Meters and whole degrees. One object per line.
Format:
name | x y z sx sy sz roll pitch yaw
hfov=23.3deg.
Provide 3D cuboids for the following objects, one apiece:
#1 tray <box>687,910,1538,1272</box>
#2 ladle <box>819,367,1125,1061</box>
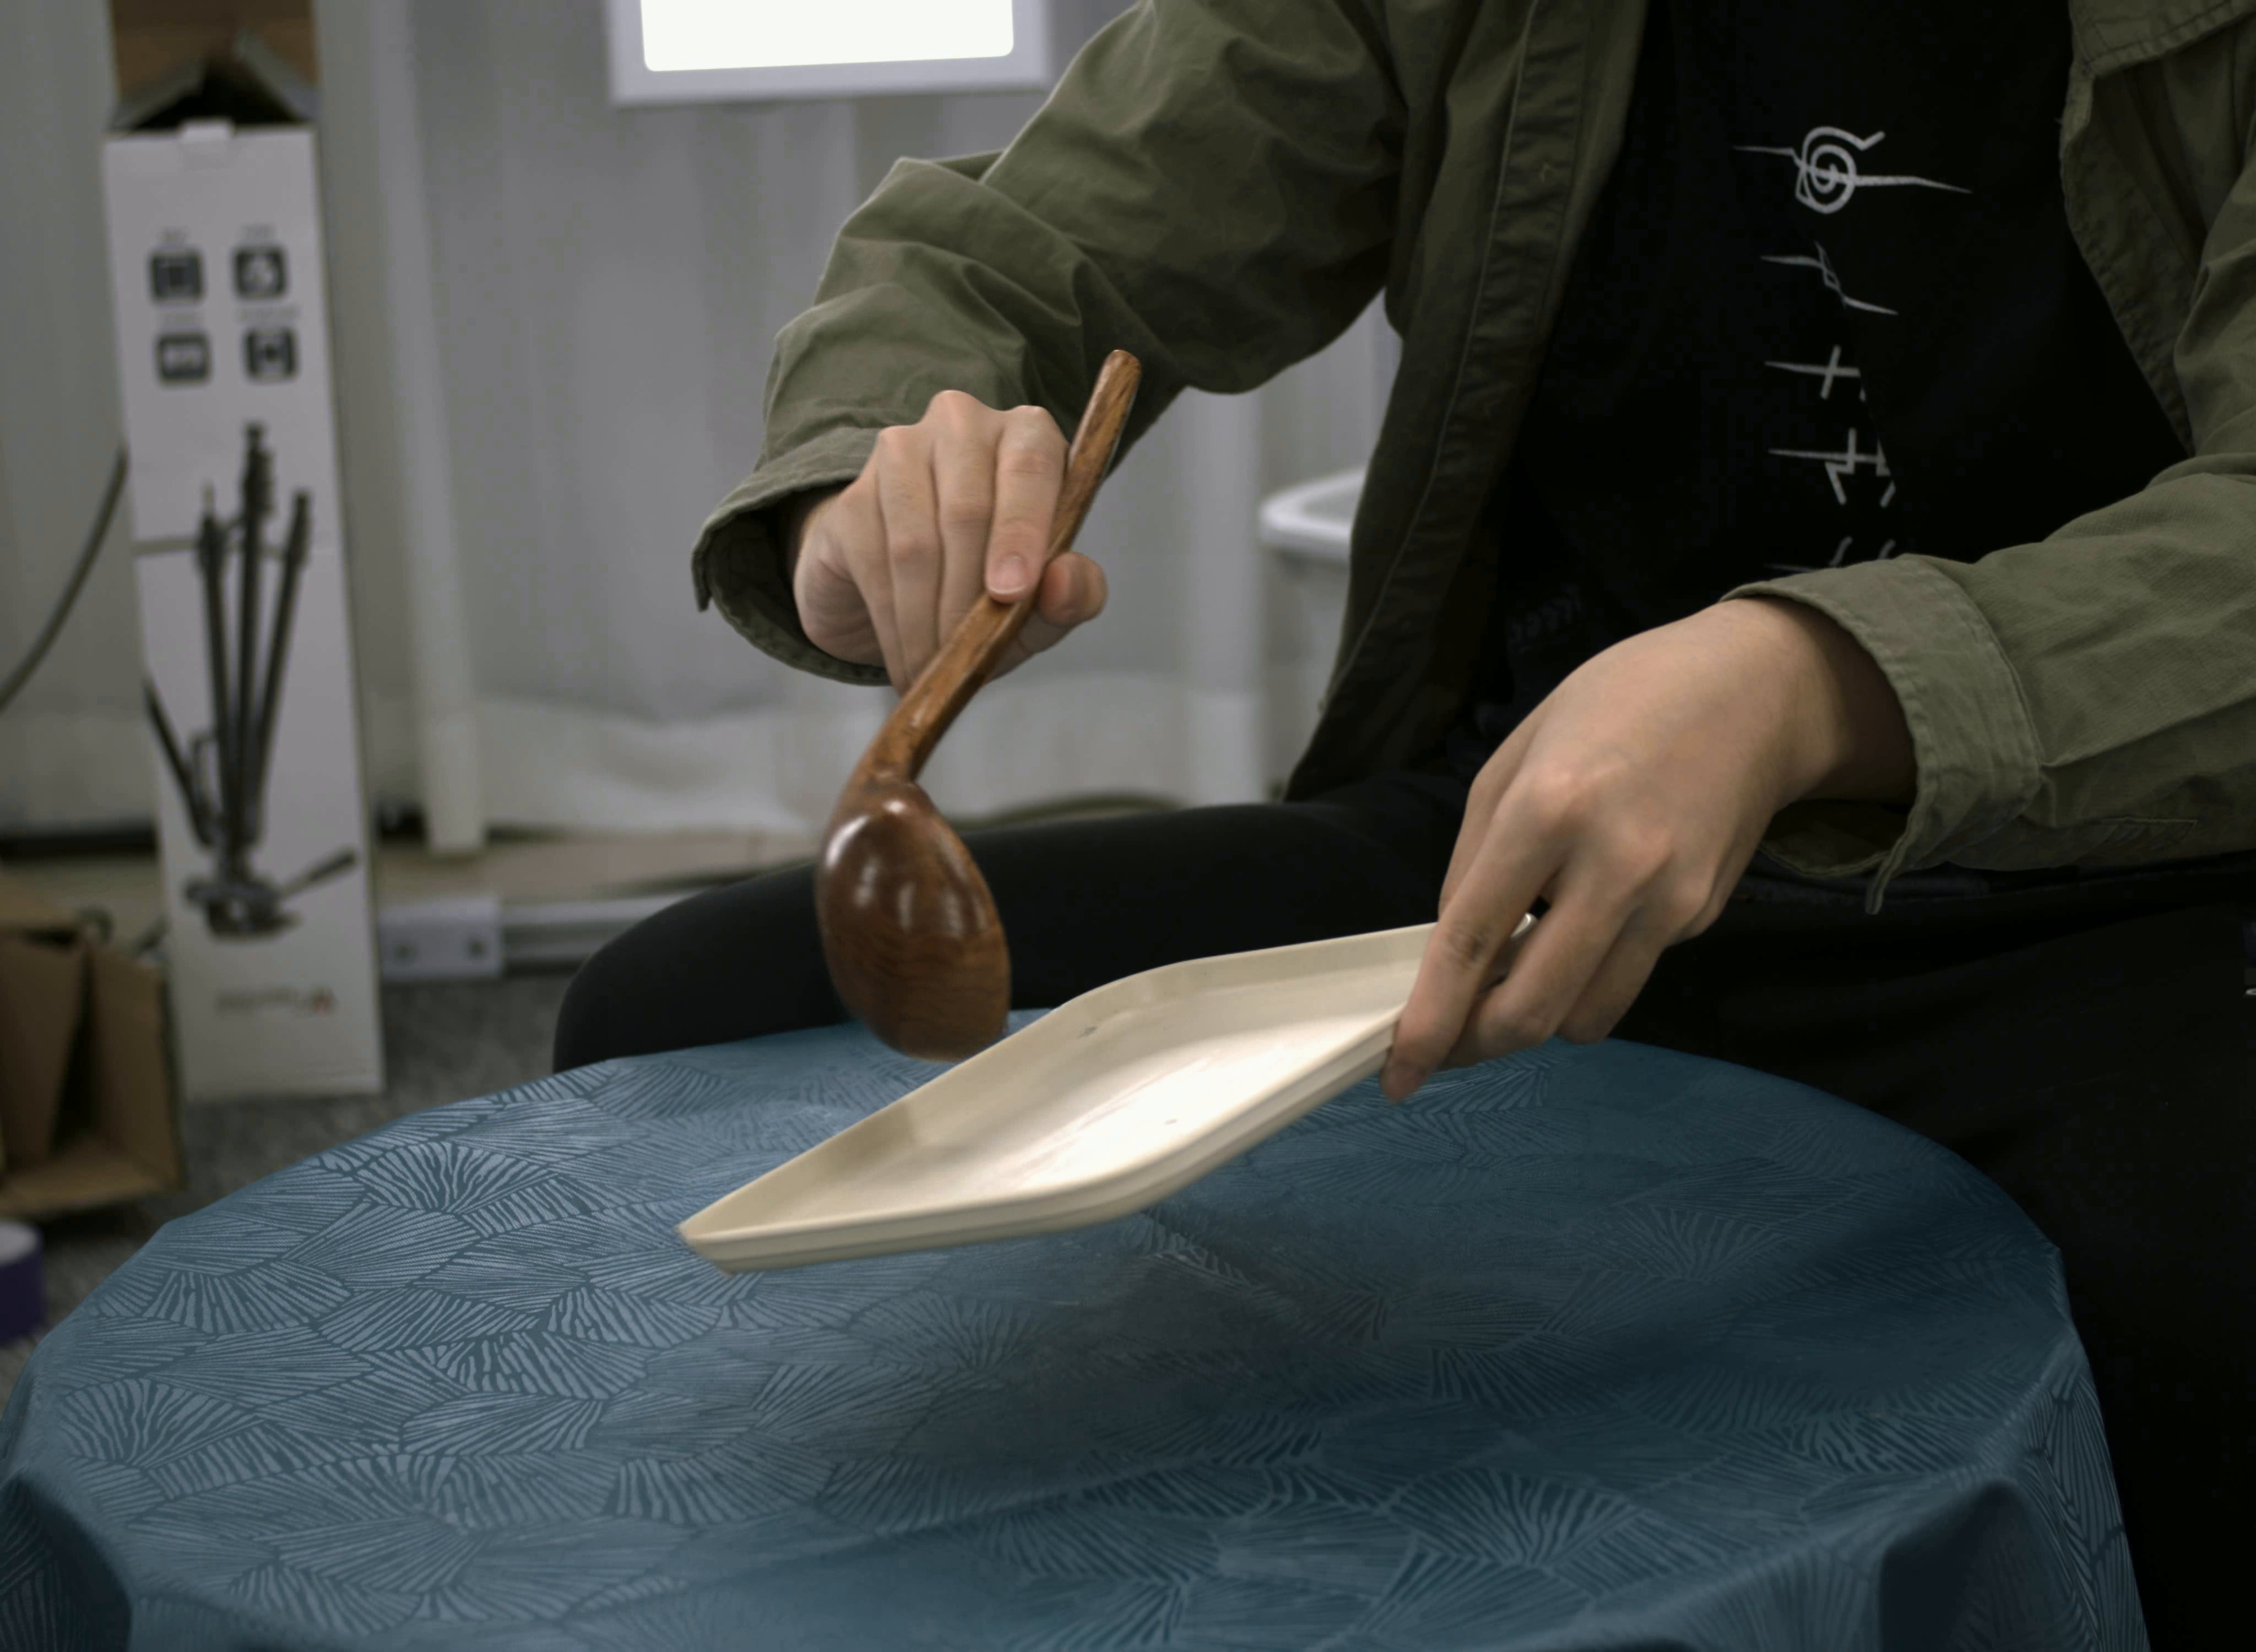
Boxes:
tray | 0.000 0.075 1.541 0.171 0.017 0.240 -10 11 38
ladle | -0.023 -0.040 1.626 0.076 0.081 0.277 27 45 1
